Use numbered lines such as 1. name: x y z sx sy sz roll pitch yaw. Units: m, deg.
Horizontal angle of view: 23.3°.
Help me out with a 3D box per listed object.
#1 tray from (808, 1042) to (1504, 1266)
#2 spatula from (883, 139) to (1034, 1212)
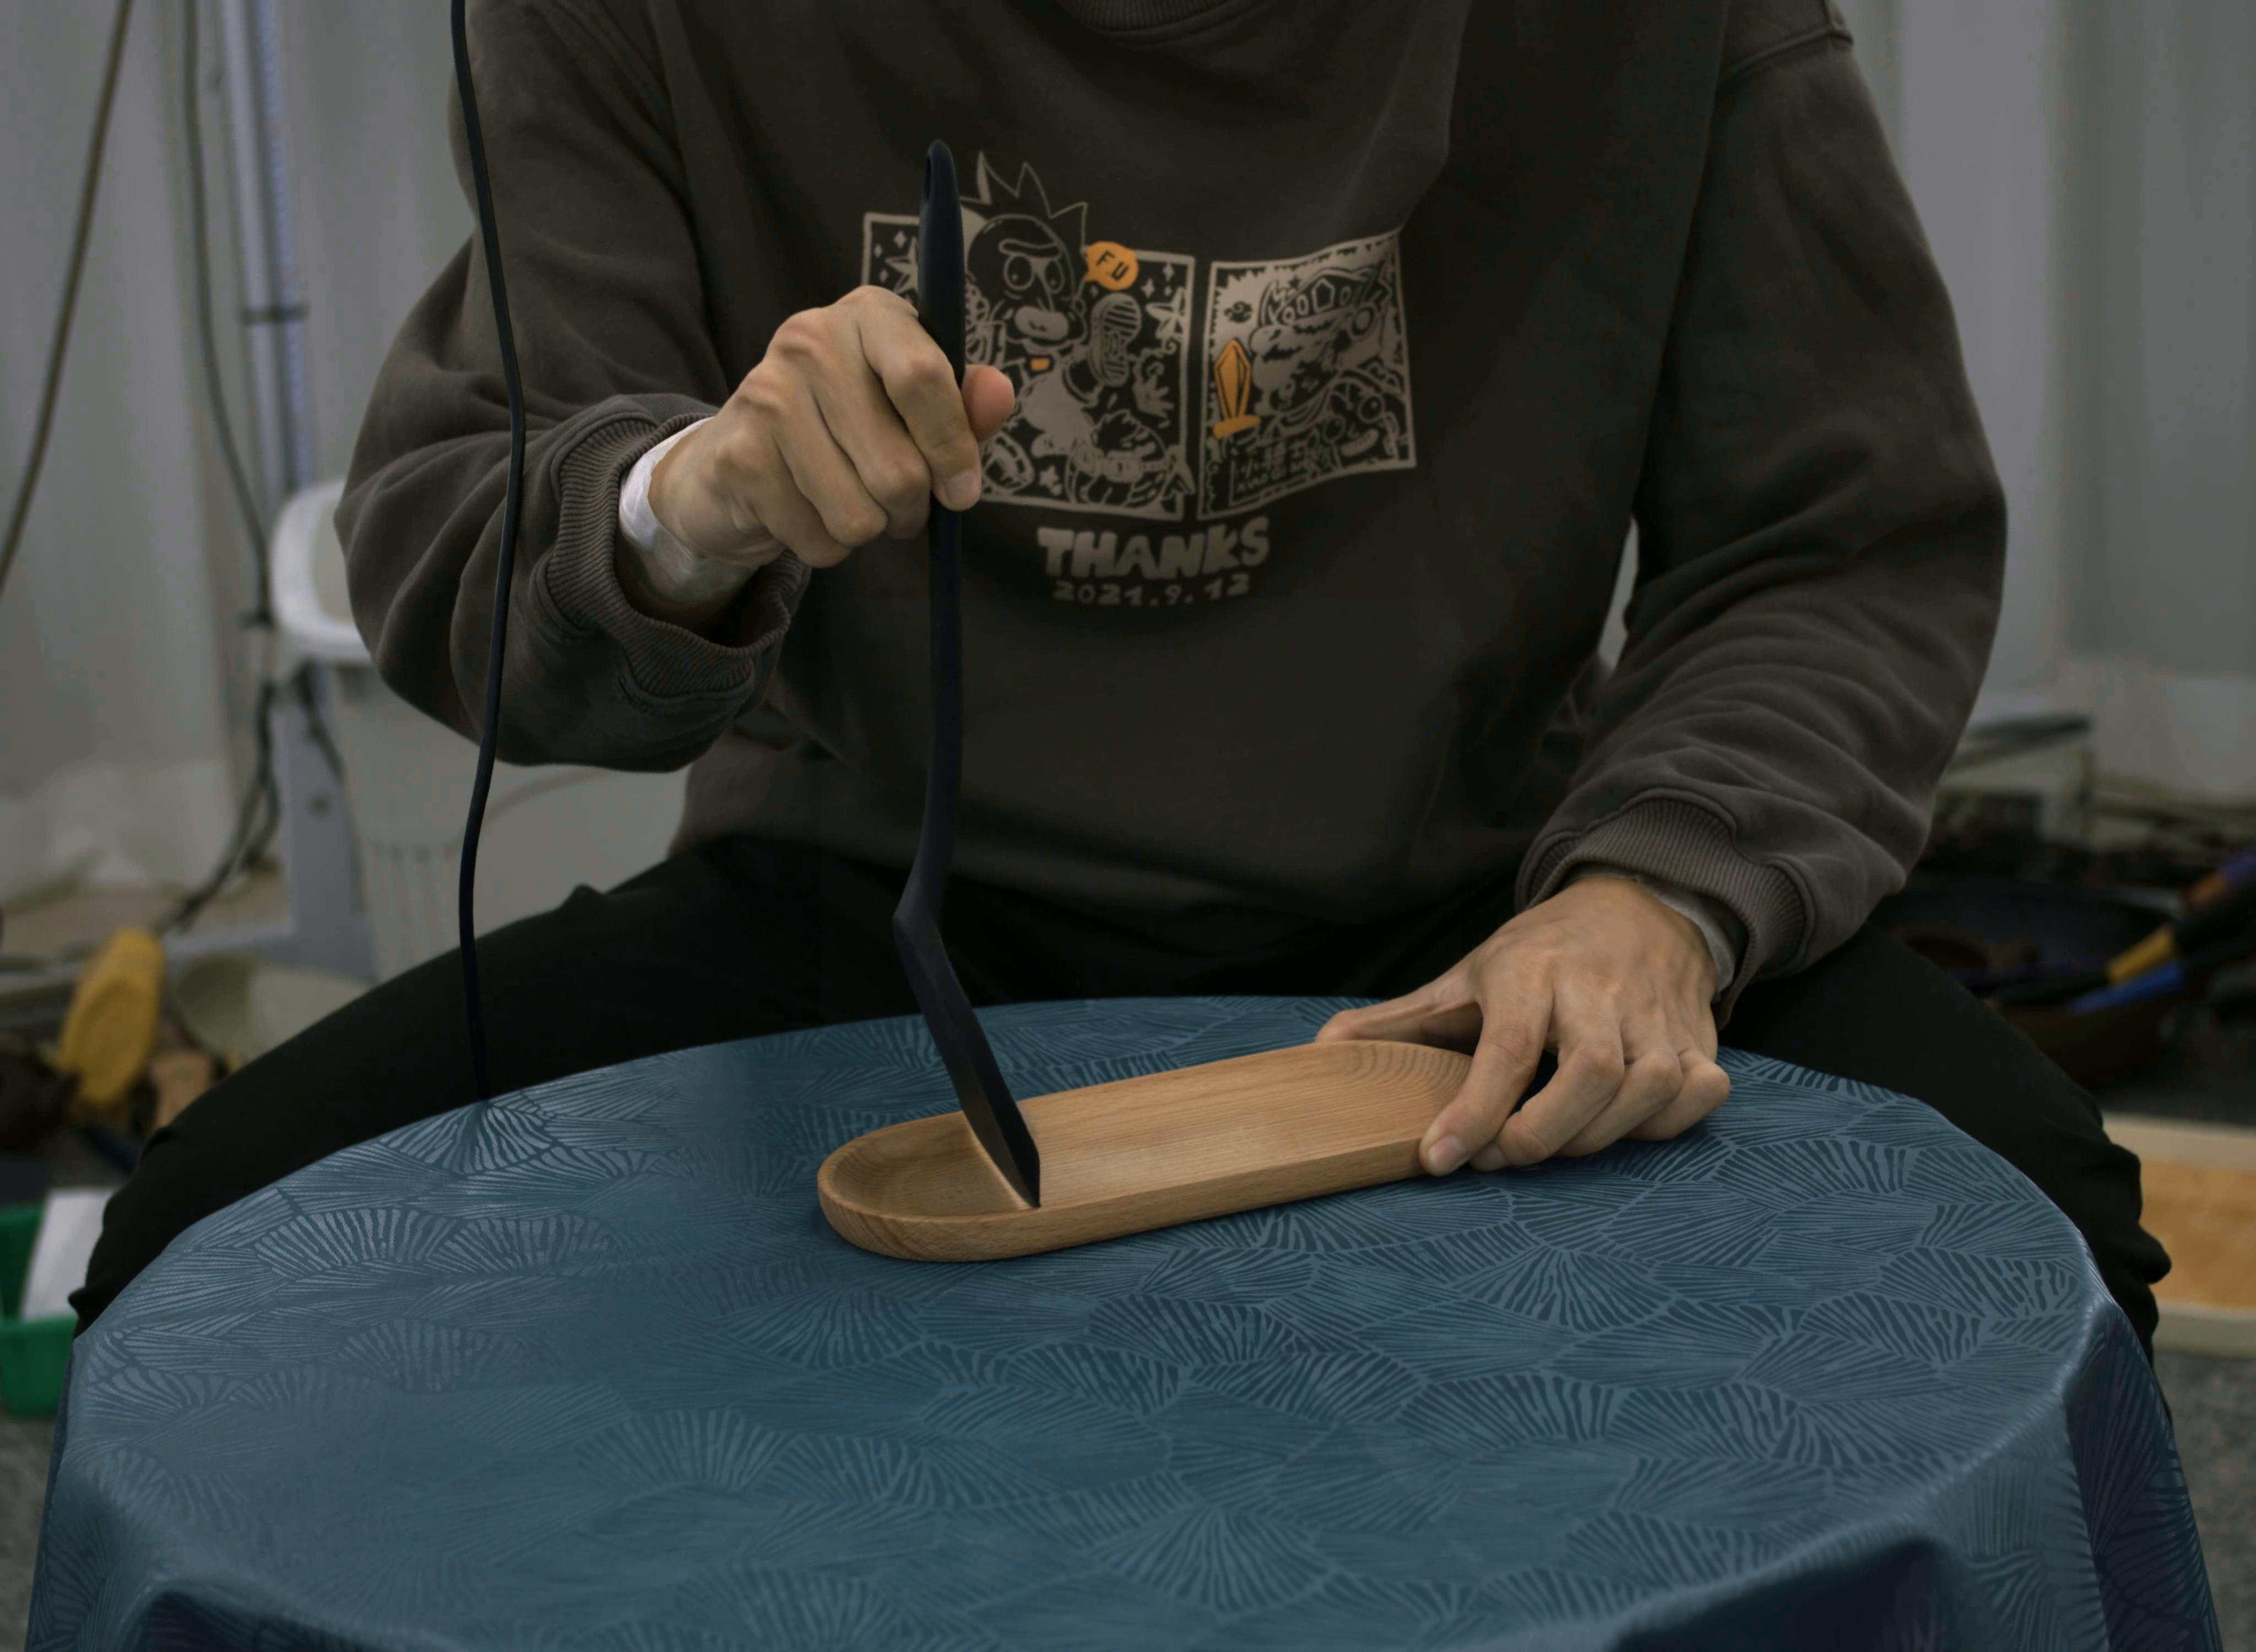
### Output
1. tray: 0.010 0.104 1.730 0.230 0.020 0.102 -11 18 -22
2. spatula: -0.050 -0.046 1.668 0.040 0.325 0.100 -1 12 -16
